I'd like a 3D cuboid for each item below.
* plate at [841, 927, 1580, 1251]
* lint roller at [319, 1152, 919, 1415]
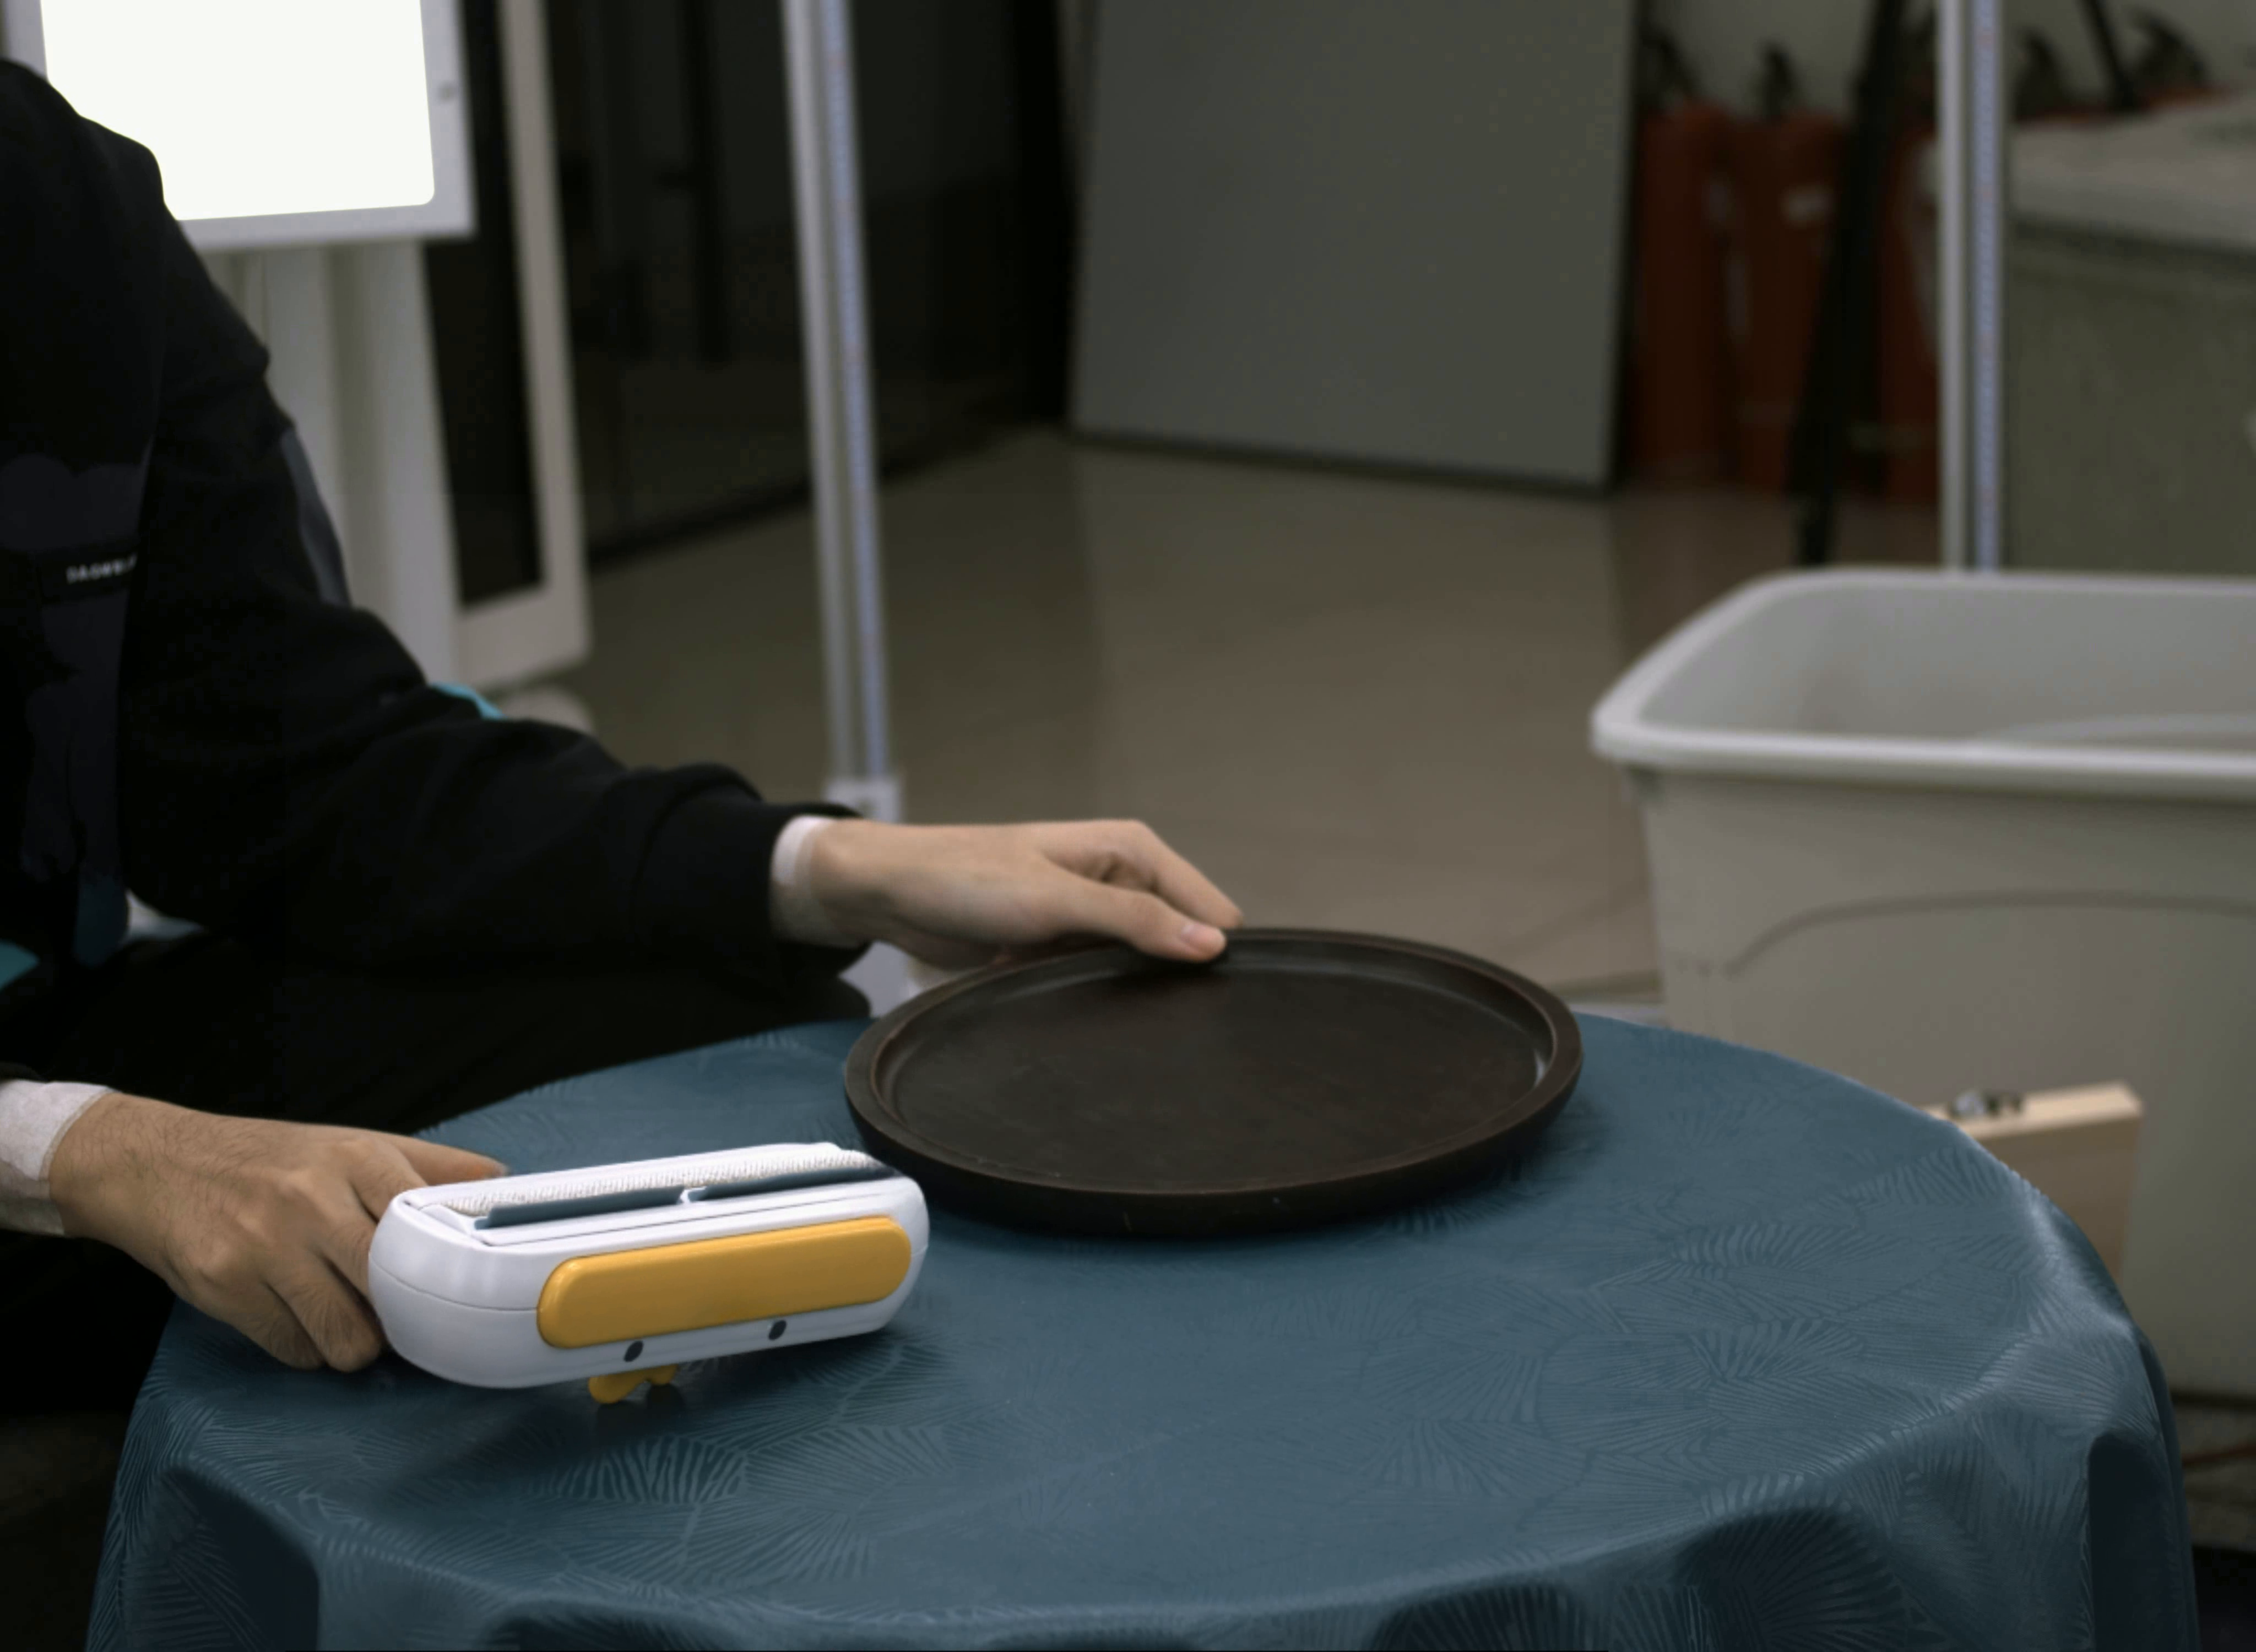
[{"bbox_3d":[0.029,0.087,1.824,0.251,0.029,0.255,-6,18,1],"label":"plate"},{"bbox_3d":[-0.183,0.131,1.646,0.188,0.075,0.194,-8,11,-40],"label":"lint roller"}]
